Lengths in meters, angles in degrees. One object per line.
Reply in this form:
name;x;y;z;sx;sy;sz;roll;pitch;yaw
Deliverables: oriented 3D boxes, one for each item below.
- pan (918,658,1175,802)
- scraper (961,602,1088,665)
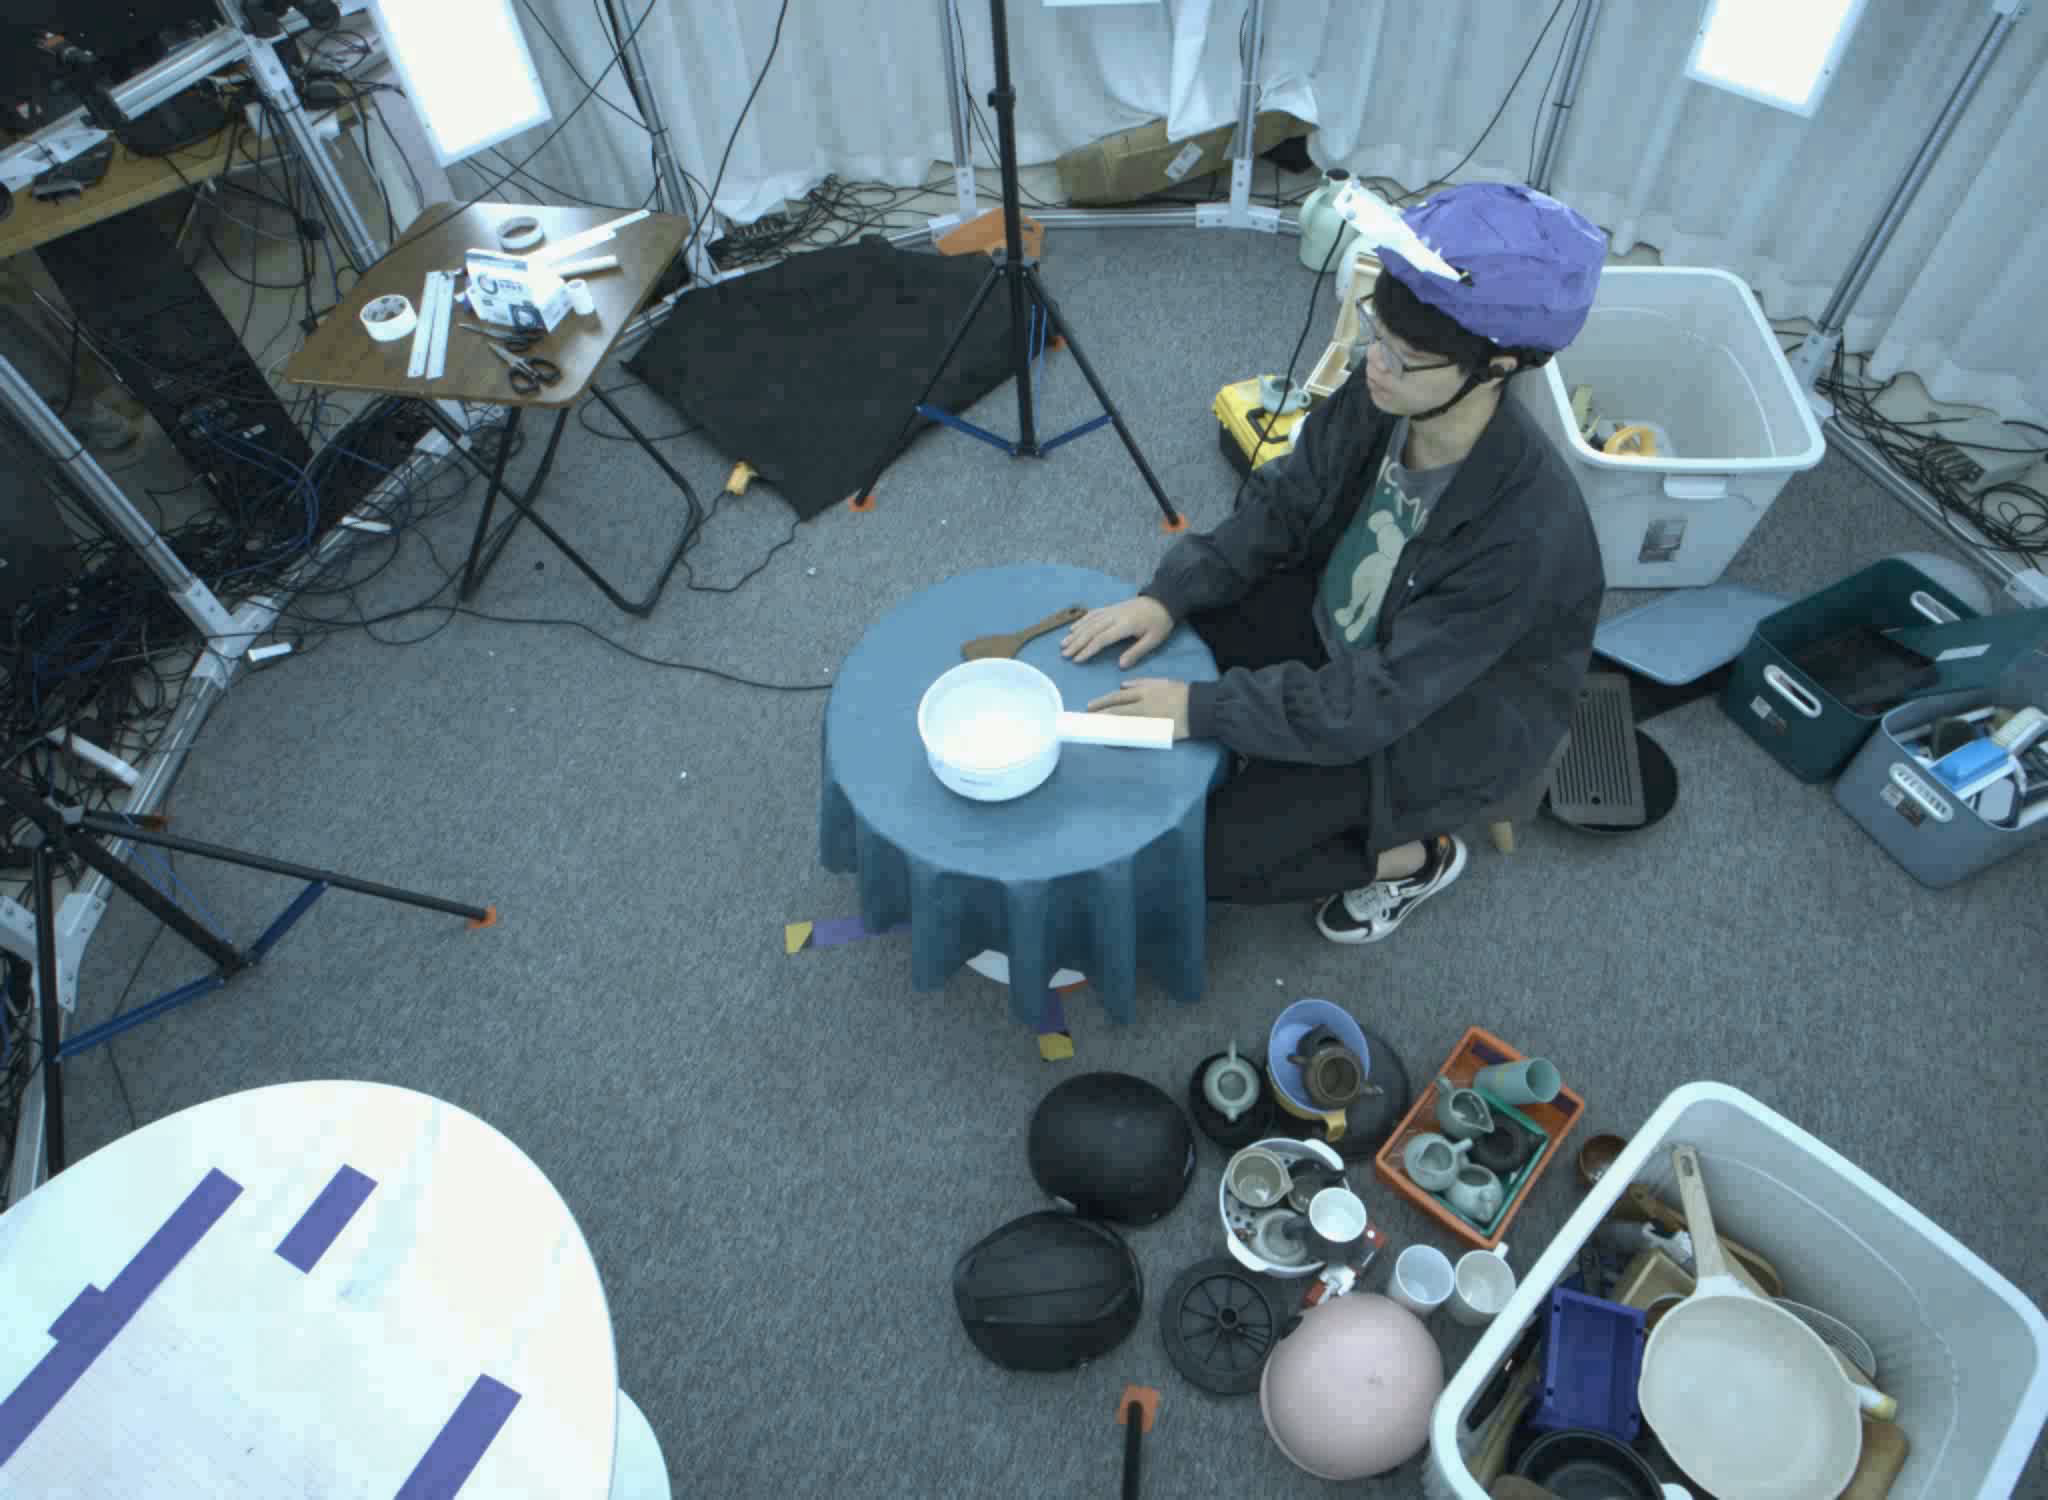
pan;0.032;-0.016;1.729;0.354;0.103;0.200;6;55;4
scraper;0.006;-0.180;1.903;0.213;0.011;0.074;-27;59;-17
